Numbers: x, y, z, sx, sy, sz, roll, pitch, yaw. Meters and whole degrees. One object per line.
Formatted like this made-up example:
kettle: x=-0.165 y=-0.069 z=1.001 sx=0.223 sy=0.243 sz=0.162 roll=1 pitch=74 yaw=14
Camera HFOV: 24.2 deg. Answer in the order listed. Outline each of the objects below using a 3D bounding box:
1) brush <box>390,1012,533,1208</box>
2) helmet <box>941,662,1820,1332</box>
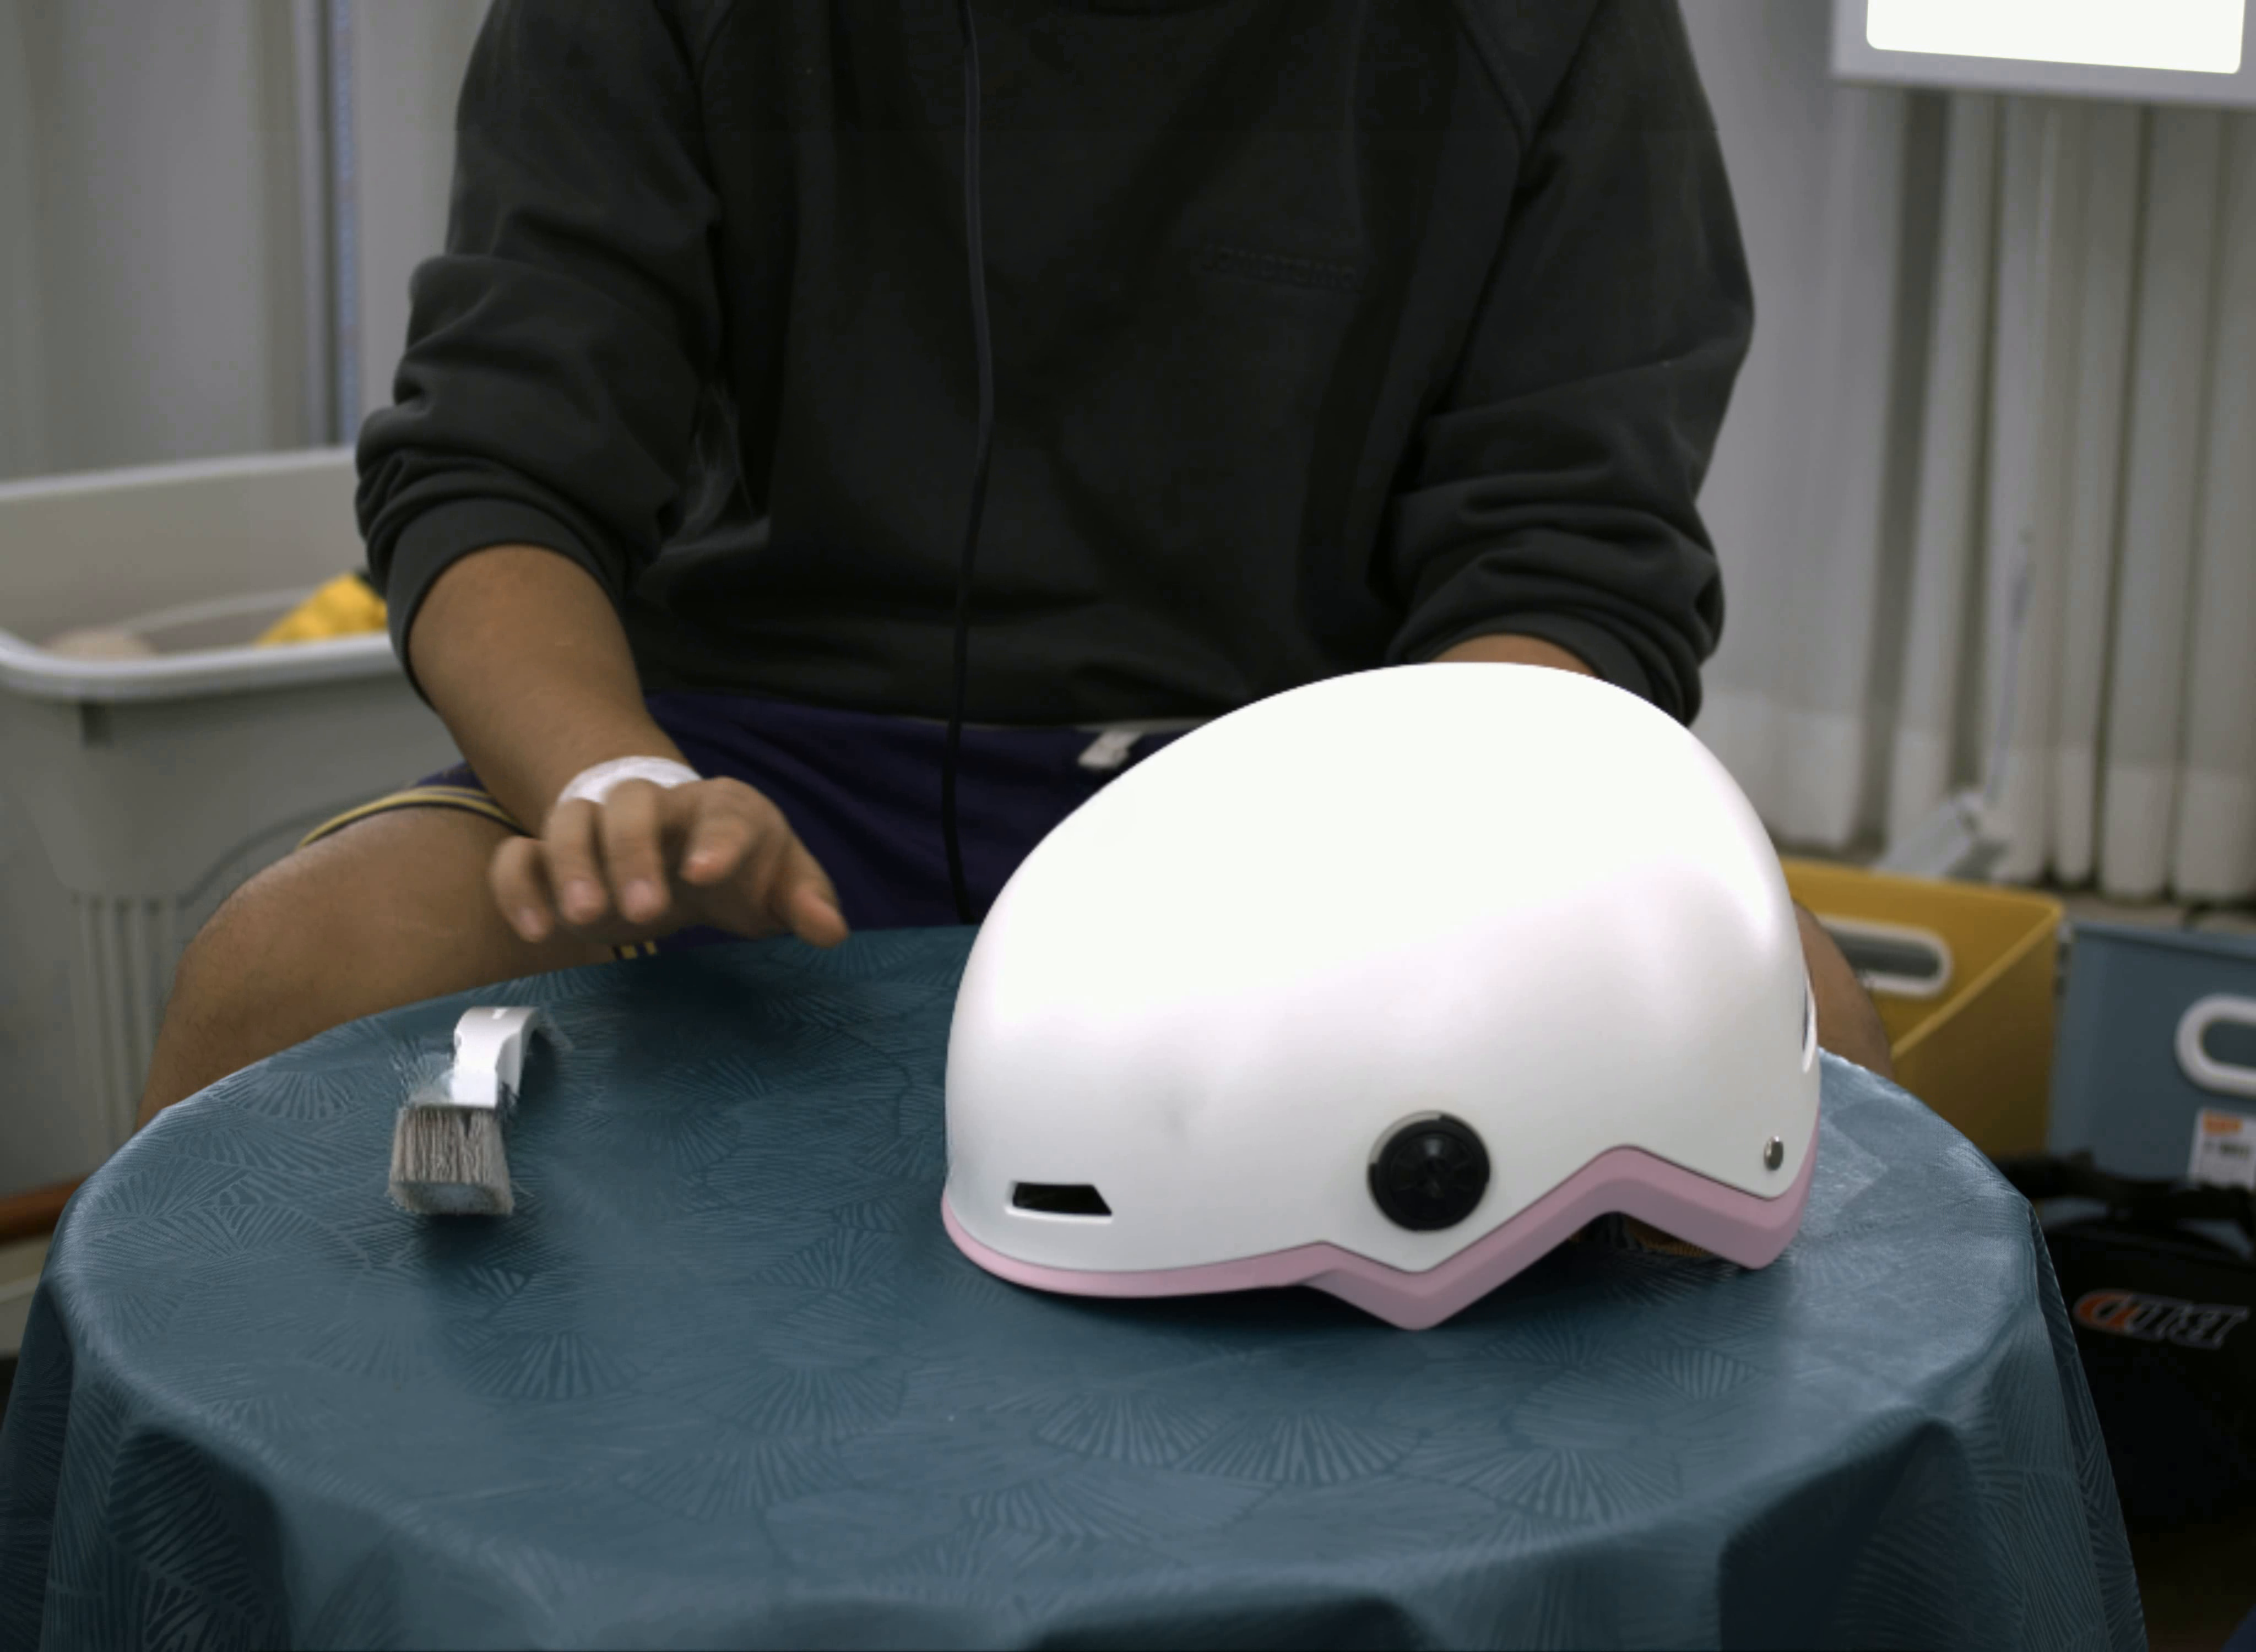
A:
brush: x=-0.206 y=0.088 z=1.658 sx=0.034 sy=0.050 sz=0.243 roll=-1 pitch=2 yaw=-3
helmet: x=0.076 y=0.038 z=1.586 sx=0.269 sy=0.168 sz=0.234 roll=-4 pitch=17 yaw=-15
